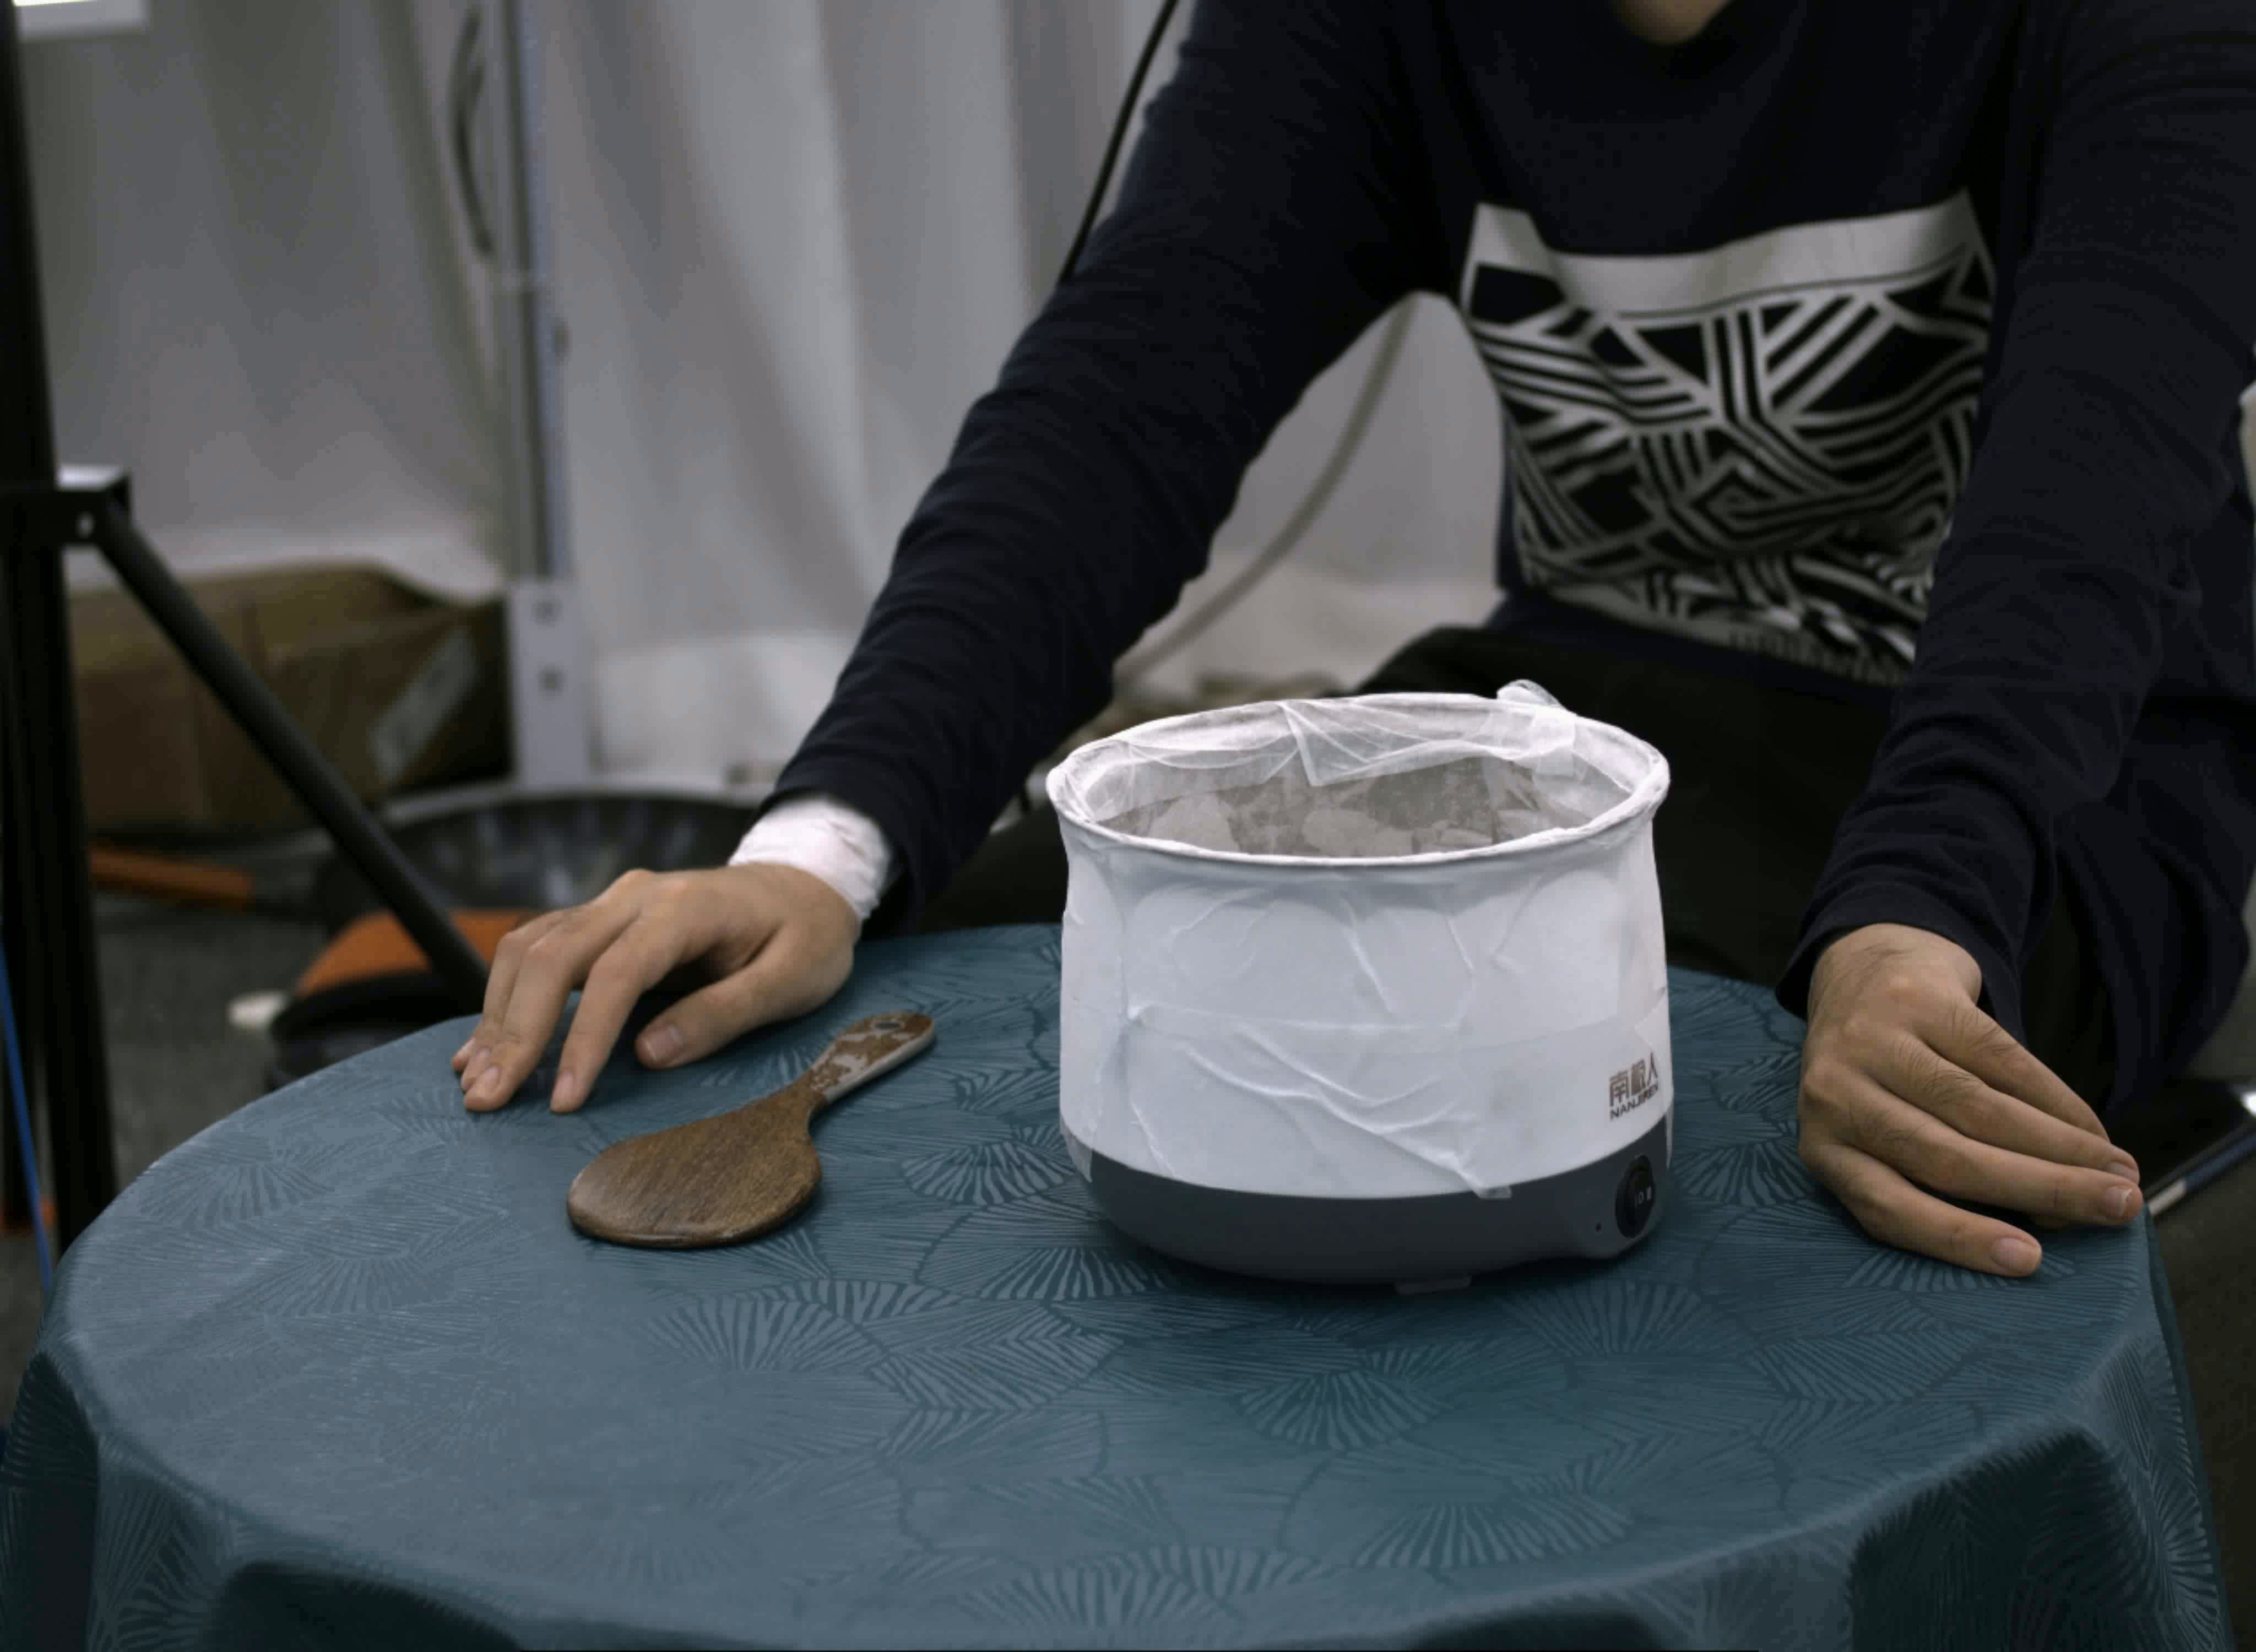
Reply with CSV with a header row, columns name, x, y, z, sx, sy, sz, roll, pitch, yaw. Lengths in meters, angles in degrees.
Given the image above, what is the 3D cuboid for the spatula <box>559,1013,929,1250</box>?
name,x,y,z,sx,sy,sz,roll,pitch,yaw
spatula,-0.105,0.091,1.629,0.073,0.009,0.213,5,17,19

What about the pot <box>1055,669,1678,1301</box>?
name,x,y,z,sx,sy,sz,roll,pitch,yaw
pot,0.081,0.038,1.540,0.182,0.136,0.229,10,21,30
